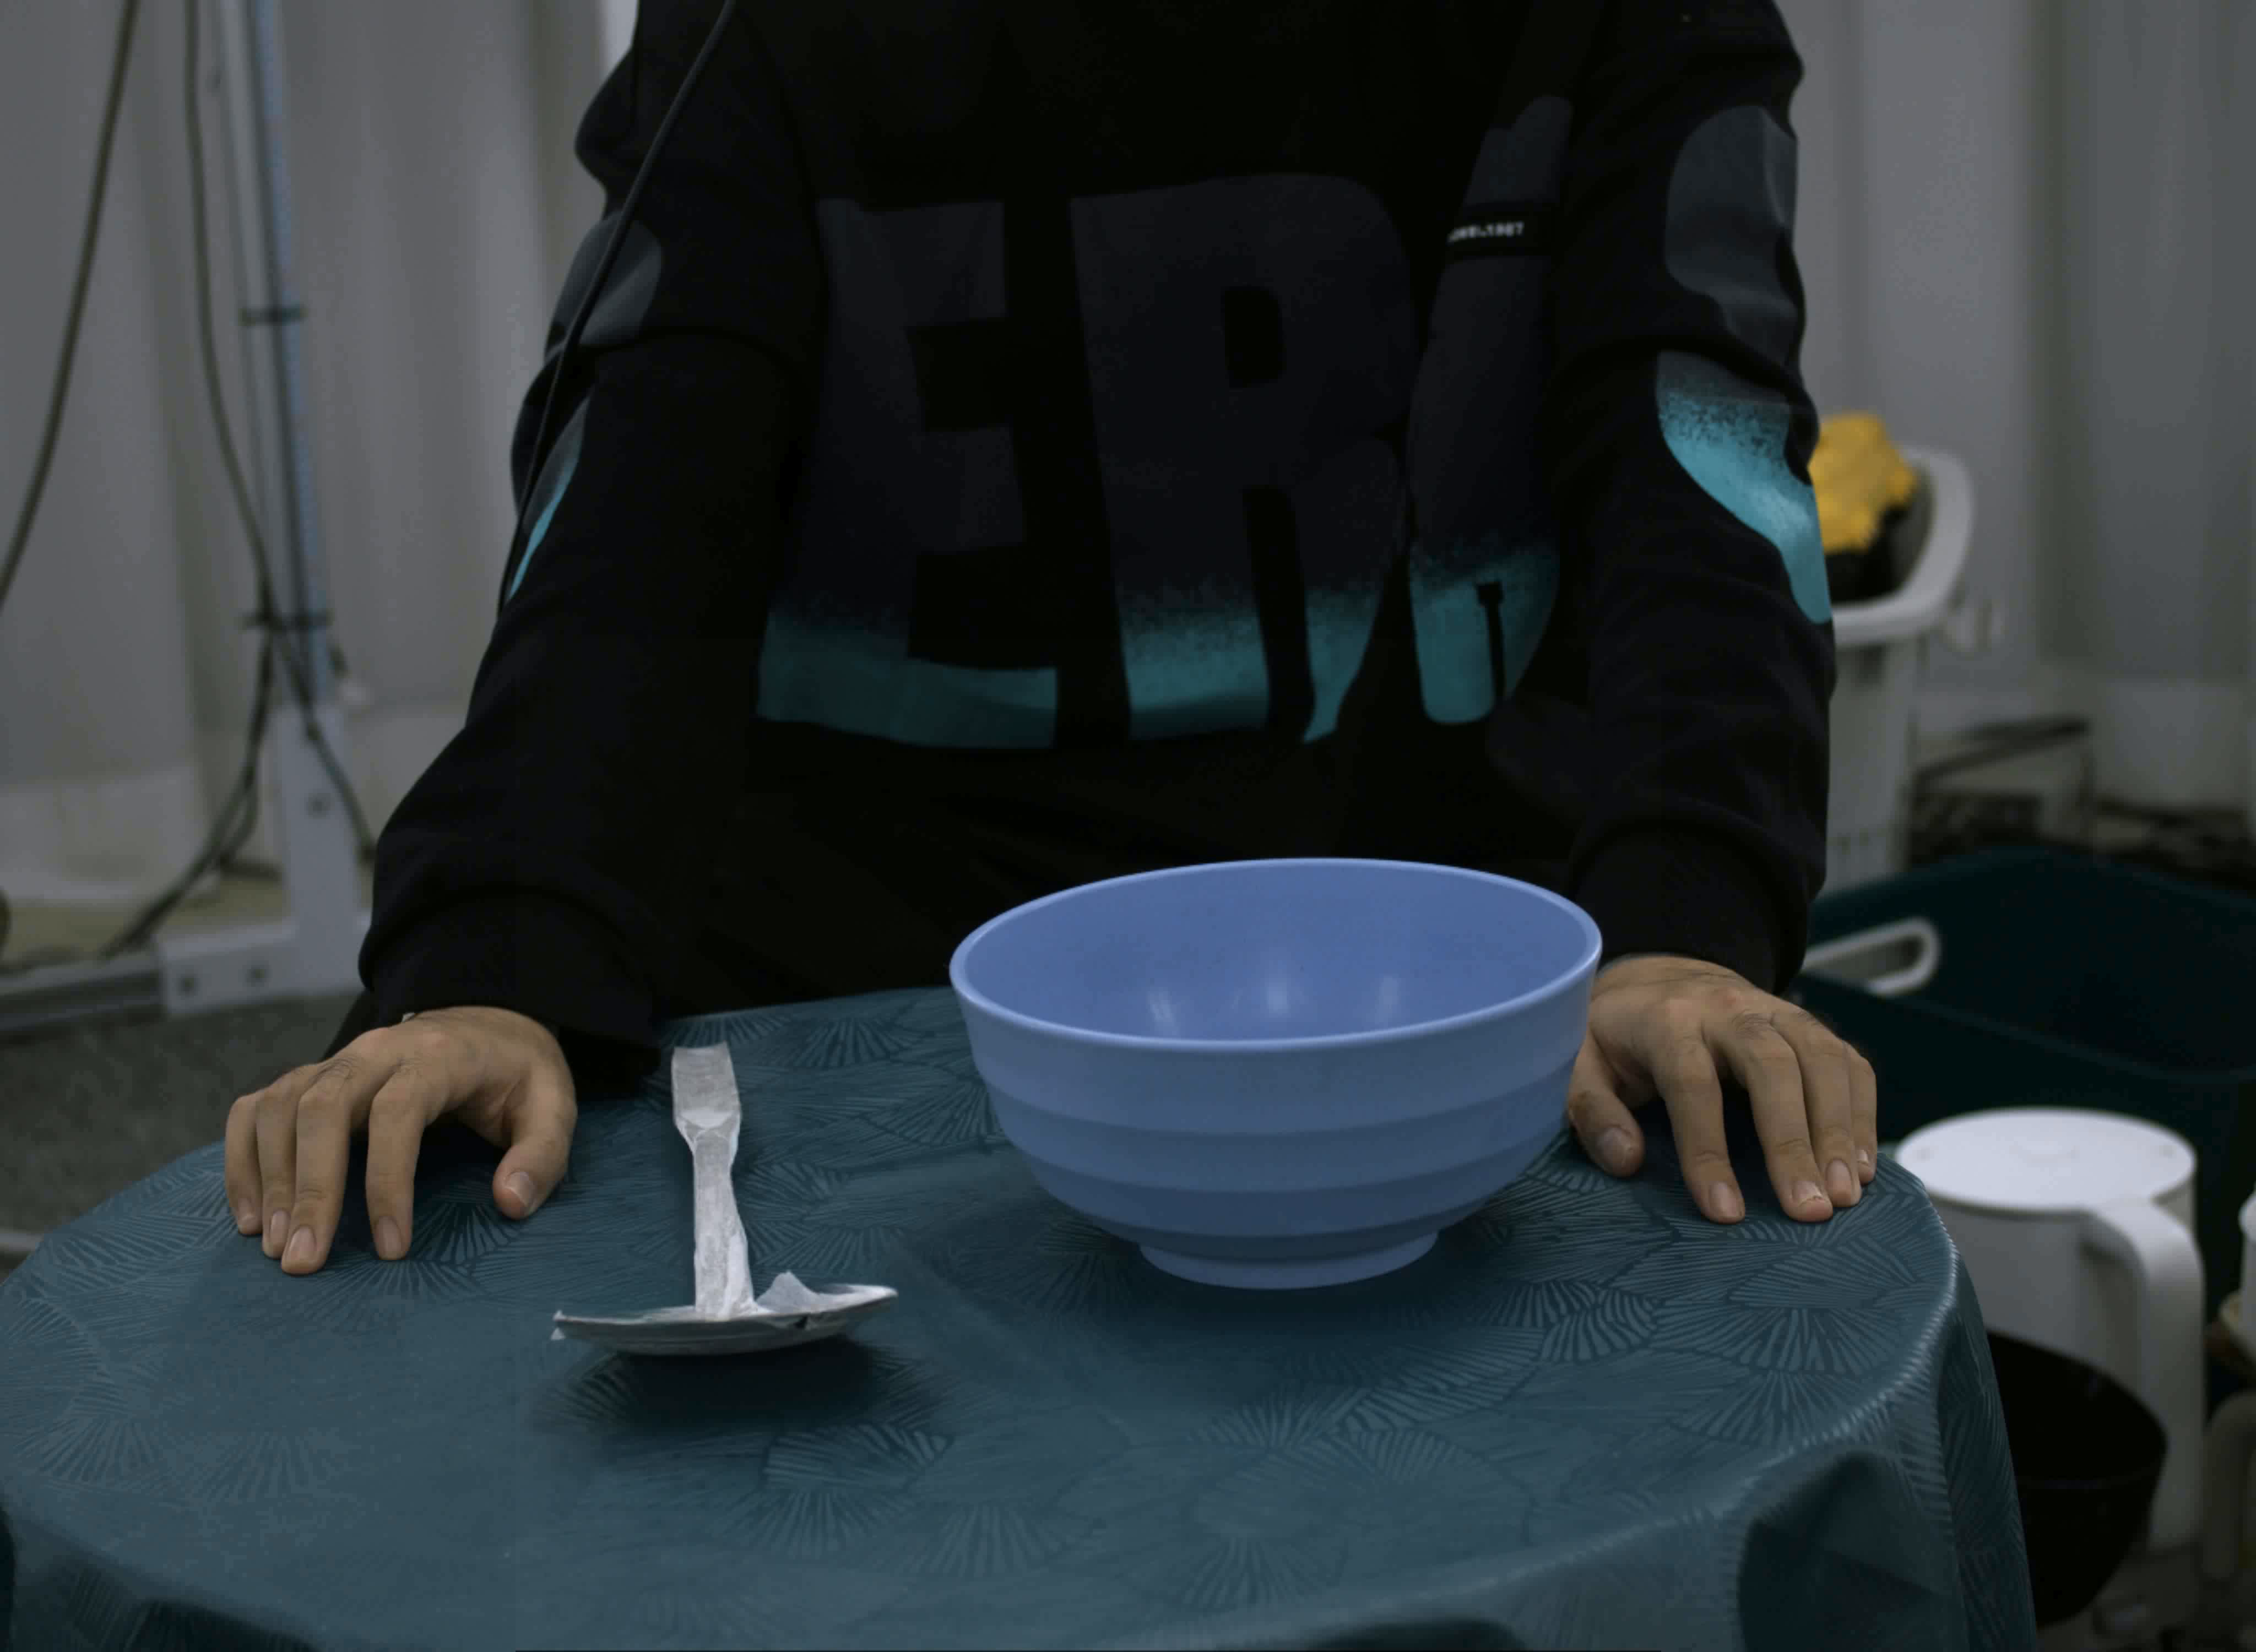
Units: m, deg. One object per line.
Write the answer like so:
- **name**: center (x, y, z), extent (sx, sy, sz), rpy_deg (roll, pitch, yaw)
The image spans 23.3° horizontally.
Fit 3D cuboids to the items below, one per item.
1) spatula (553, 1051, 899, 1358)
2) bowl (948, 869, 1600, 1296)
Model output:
- **spatula**: center (-0.124, 0.108, 1.691), extent (0.098, 0.044, 0.367), rpy_deg (-6, 15, -3)
- **bowl**: center (0.047, 0.082, 1.651), extent (0.196, 0.095, 0.198), rpy_deg (-4, 14, 1)
